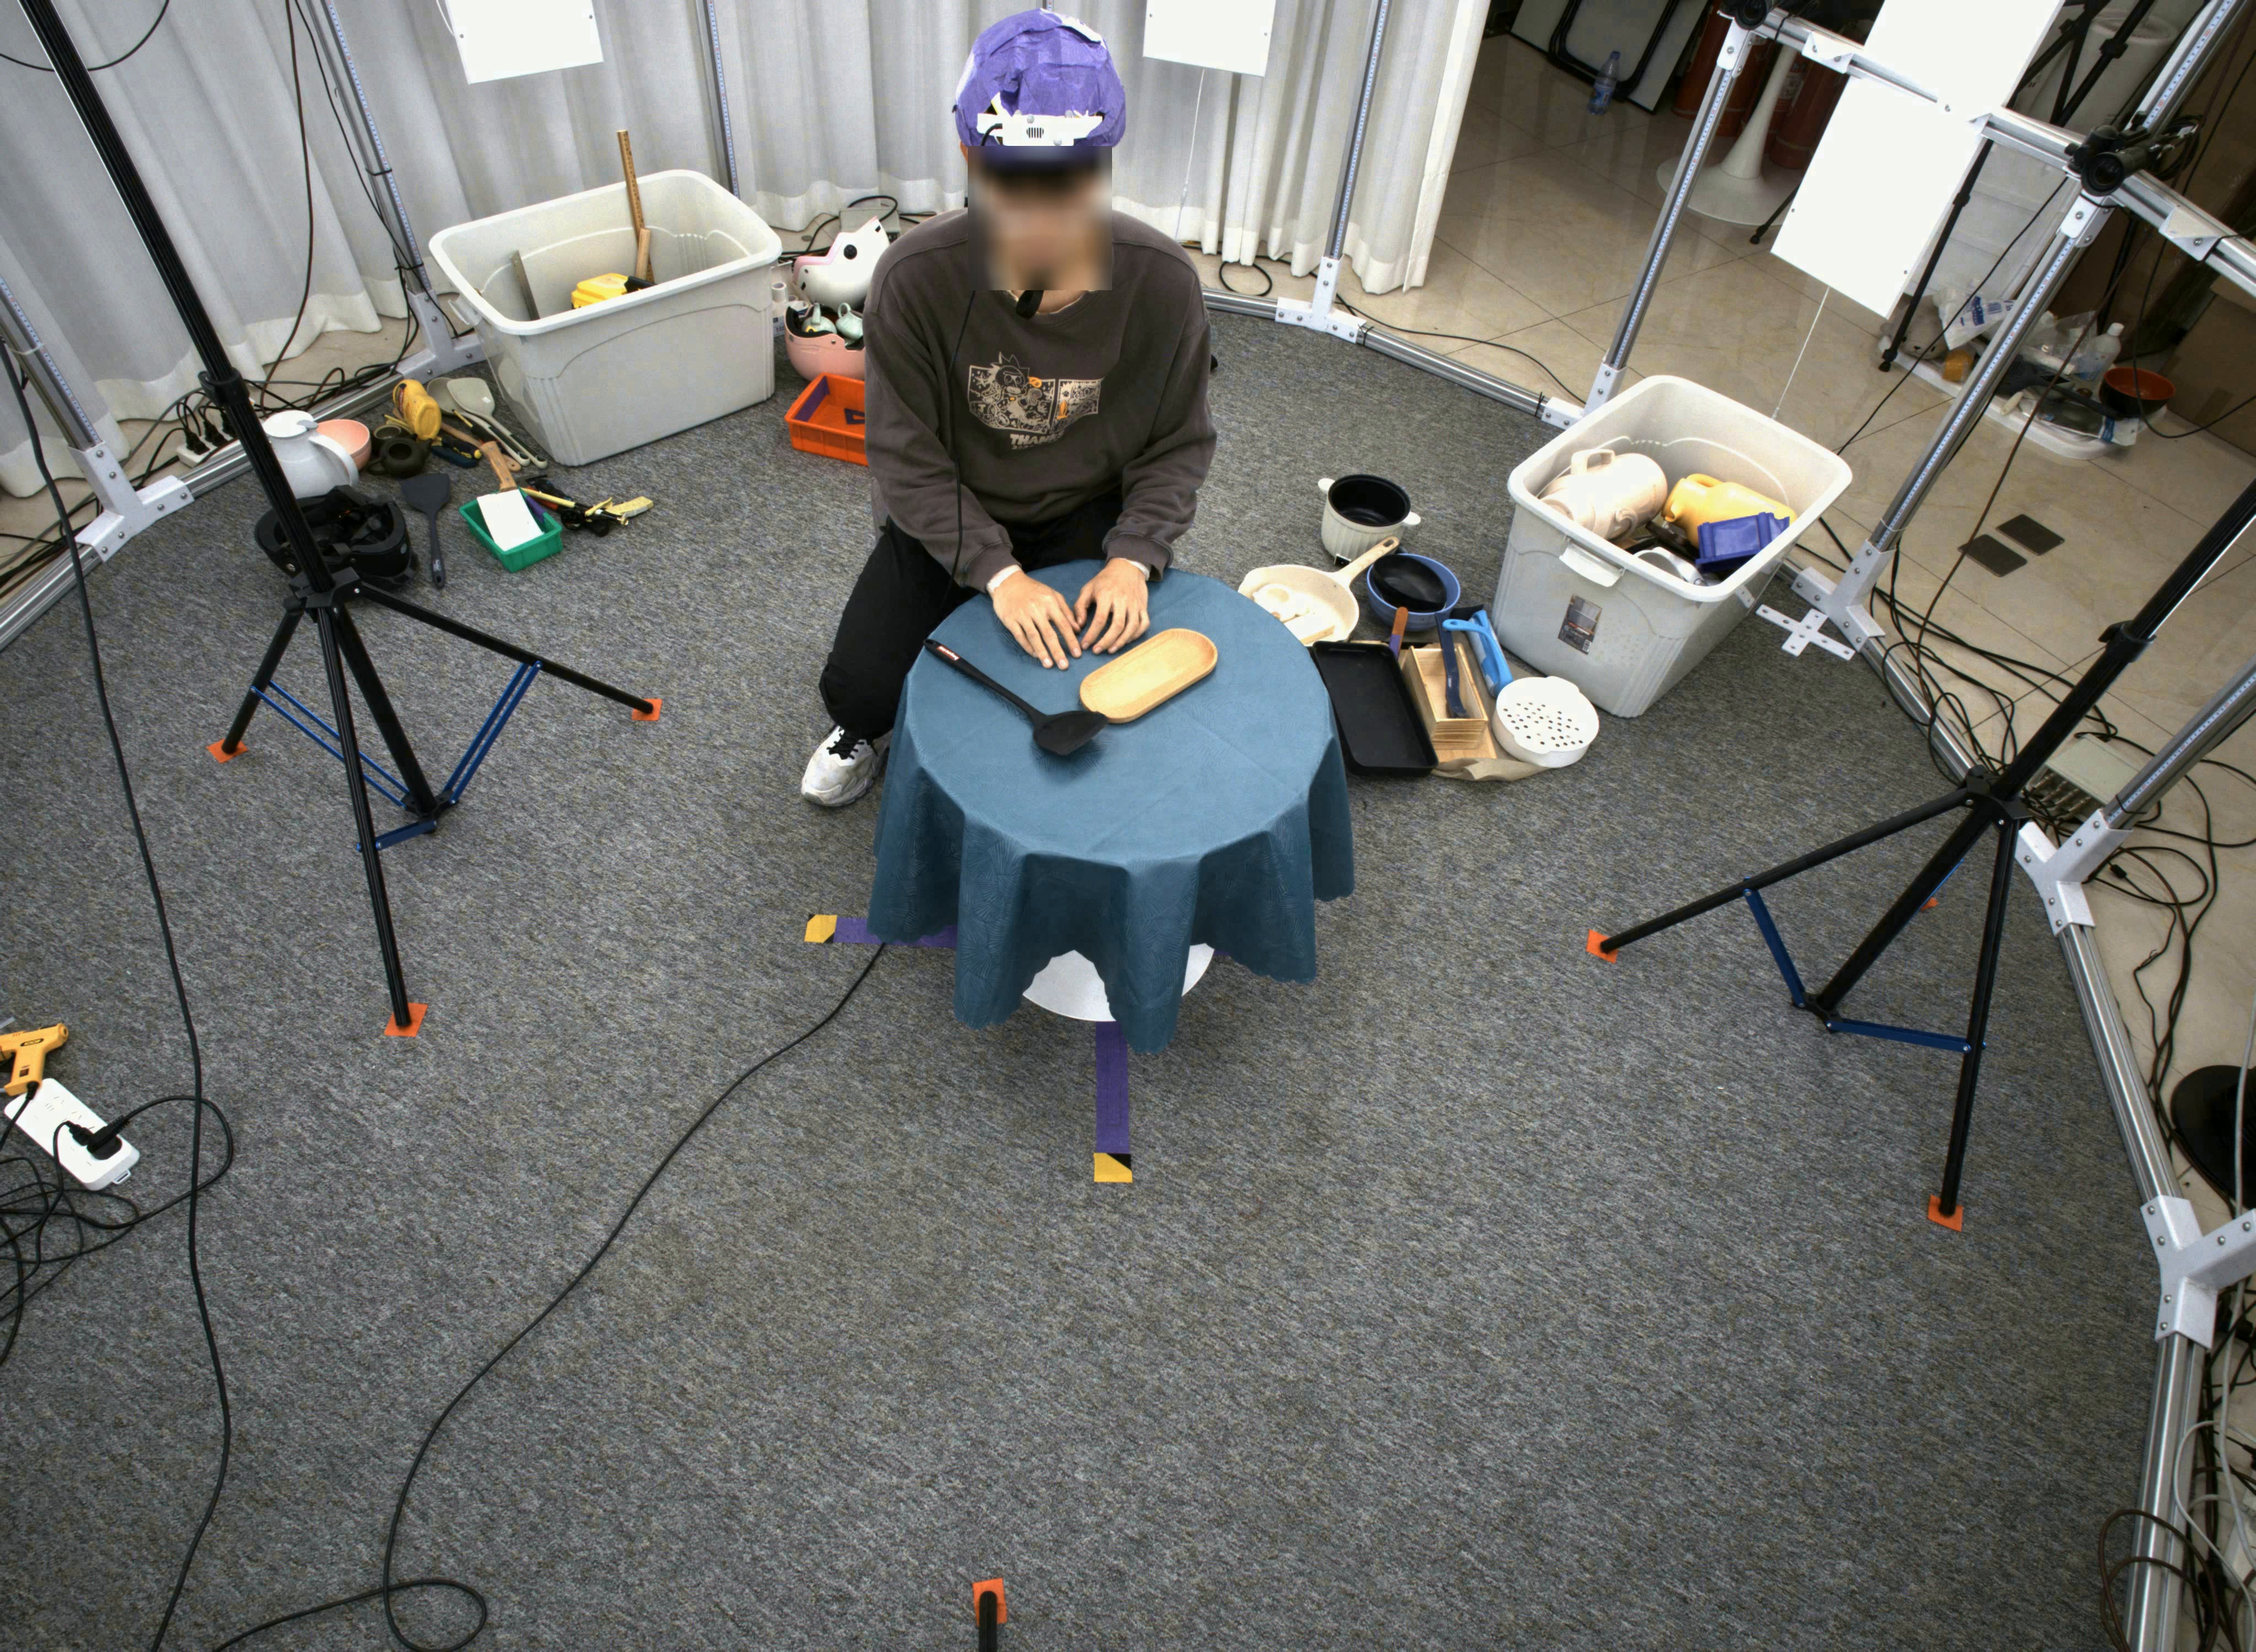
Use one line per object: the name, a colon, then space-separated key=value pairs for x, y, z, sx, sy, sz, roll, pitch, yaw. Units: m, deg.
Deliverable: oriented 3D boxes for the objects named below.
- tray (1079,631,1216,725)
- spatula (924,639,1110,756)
tray: x=0.030 y=-0.215 z=1.844 sx=0.233 sy=0.020 sz=0.103 roll=-34 pitch=58 yaw=-27
spatula: x=-0.172 y=-0.191 z=1.798 sx=0.330 sy=0.039 sz=0.101 roll=36 pitch=55 yaw=25
